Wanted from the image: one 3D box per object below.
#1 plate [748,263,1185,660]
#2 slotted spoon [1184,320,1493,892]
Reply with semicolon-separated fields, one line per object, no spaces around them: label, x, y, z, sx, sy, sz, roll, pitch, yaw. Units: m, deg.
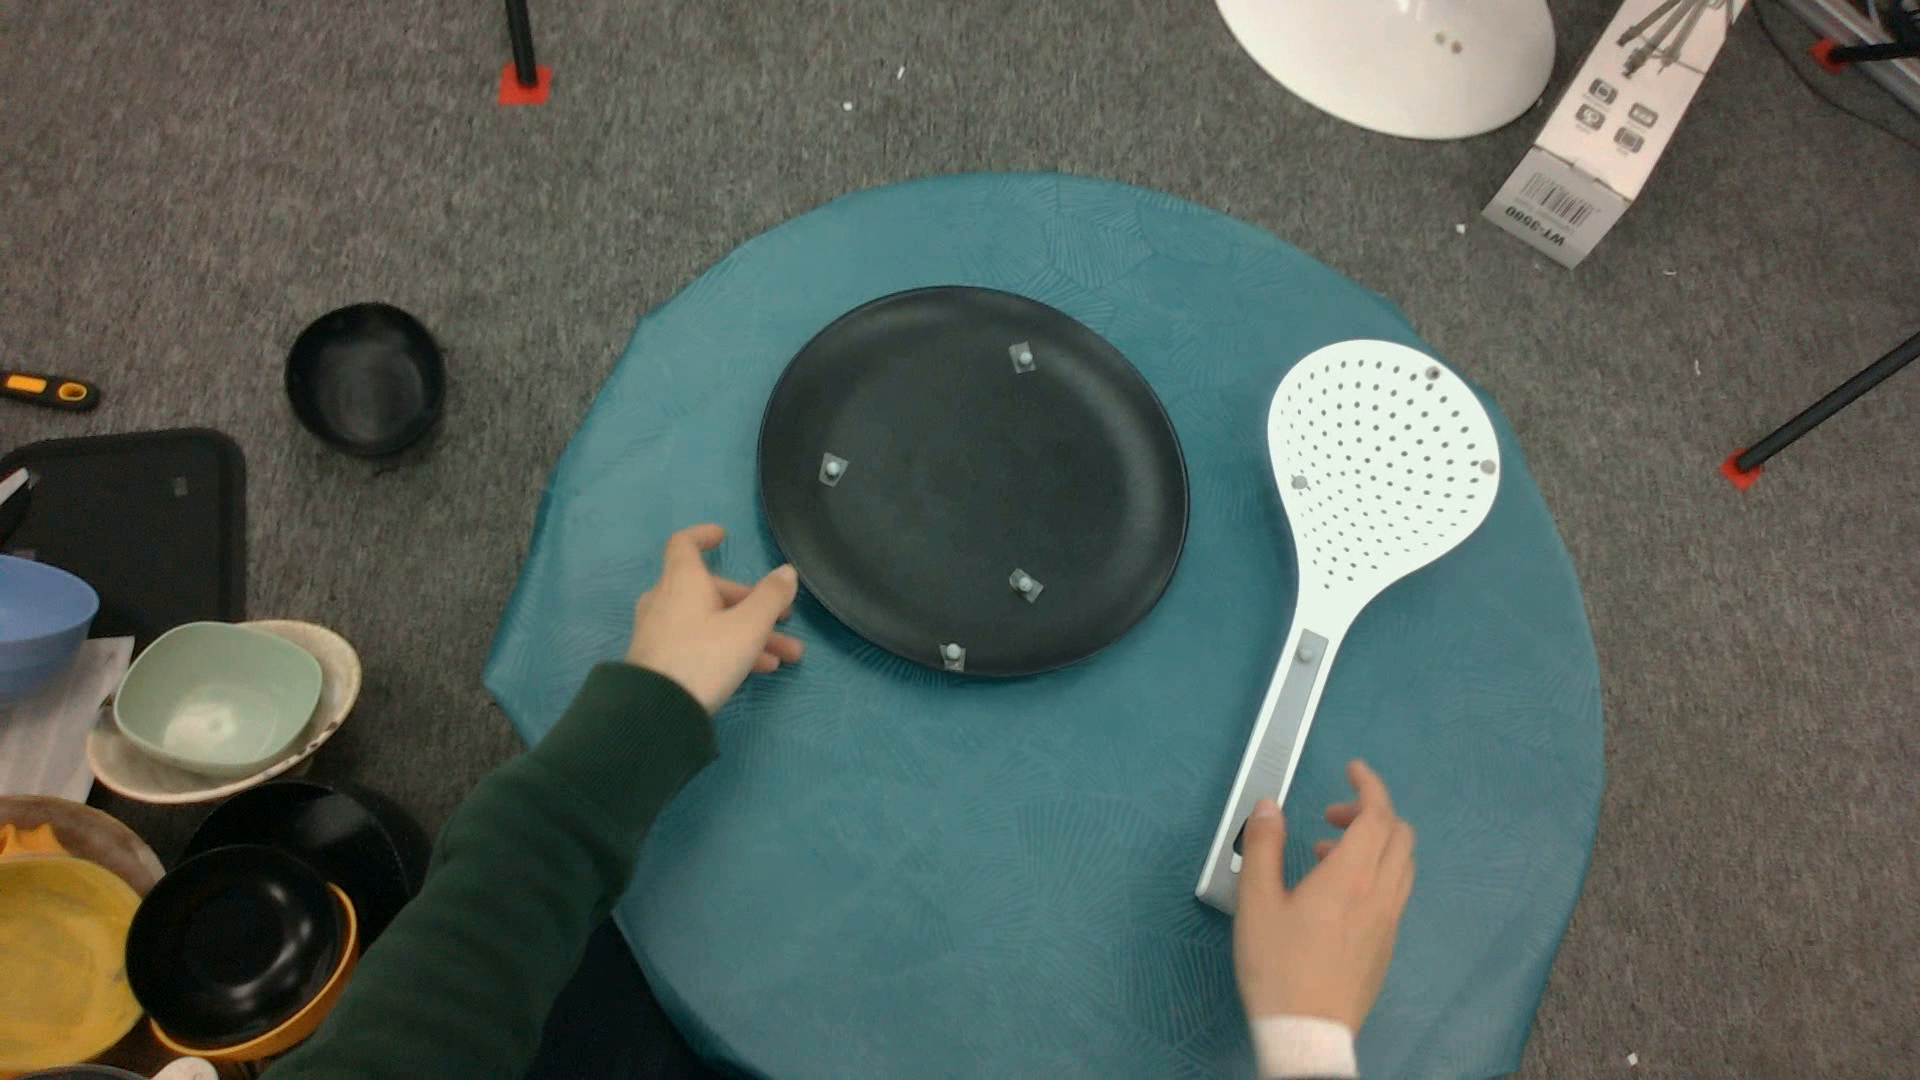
plate;0.005;-0.046;0.762;0.244;0.023;0.245;5;65;-10
slotted spoon;0.196;0.027;0.757;0.136;0.045;0.351;25;64;2
